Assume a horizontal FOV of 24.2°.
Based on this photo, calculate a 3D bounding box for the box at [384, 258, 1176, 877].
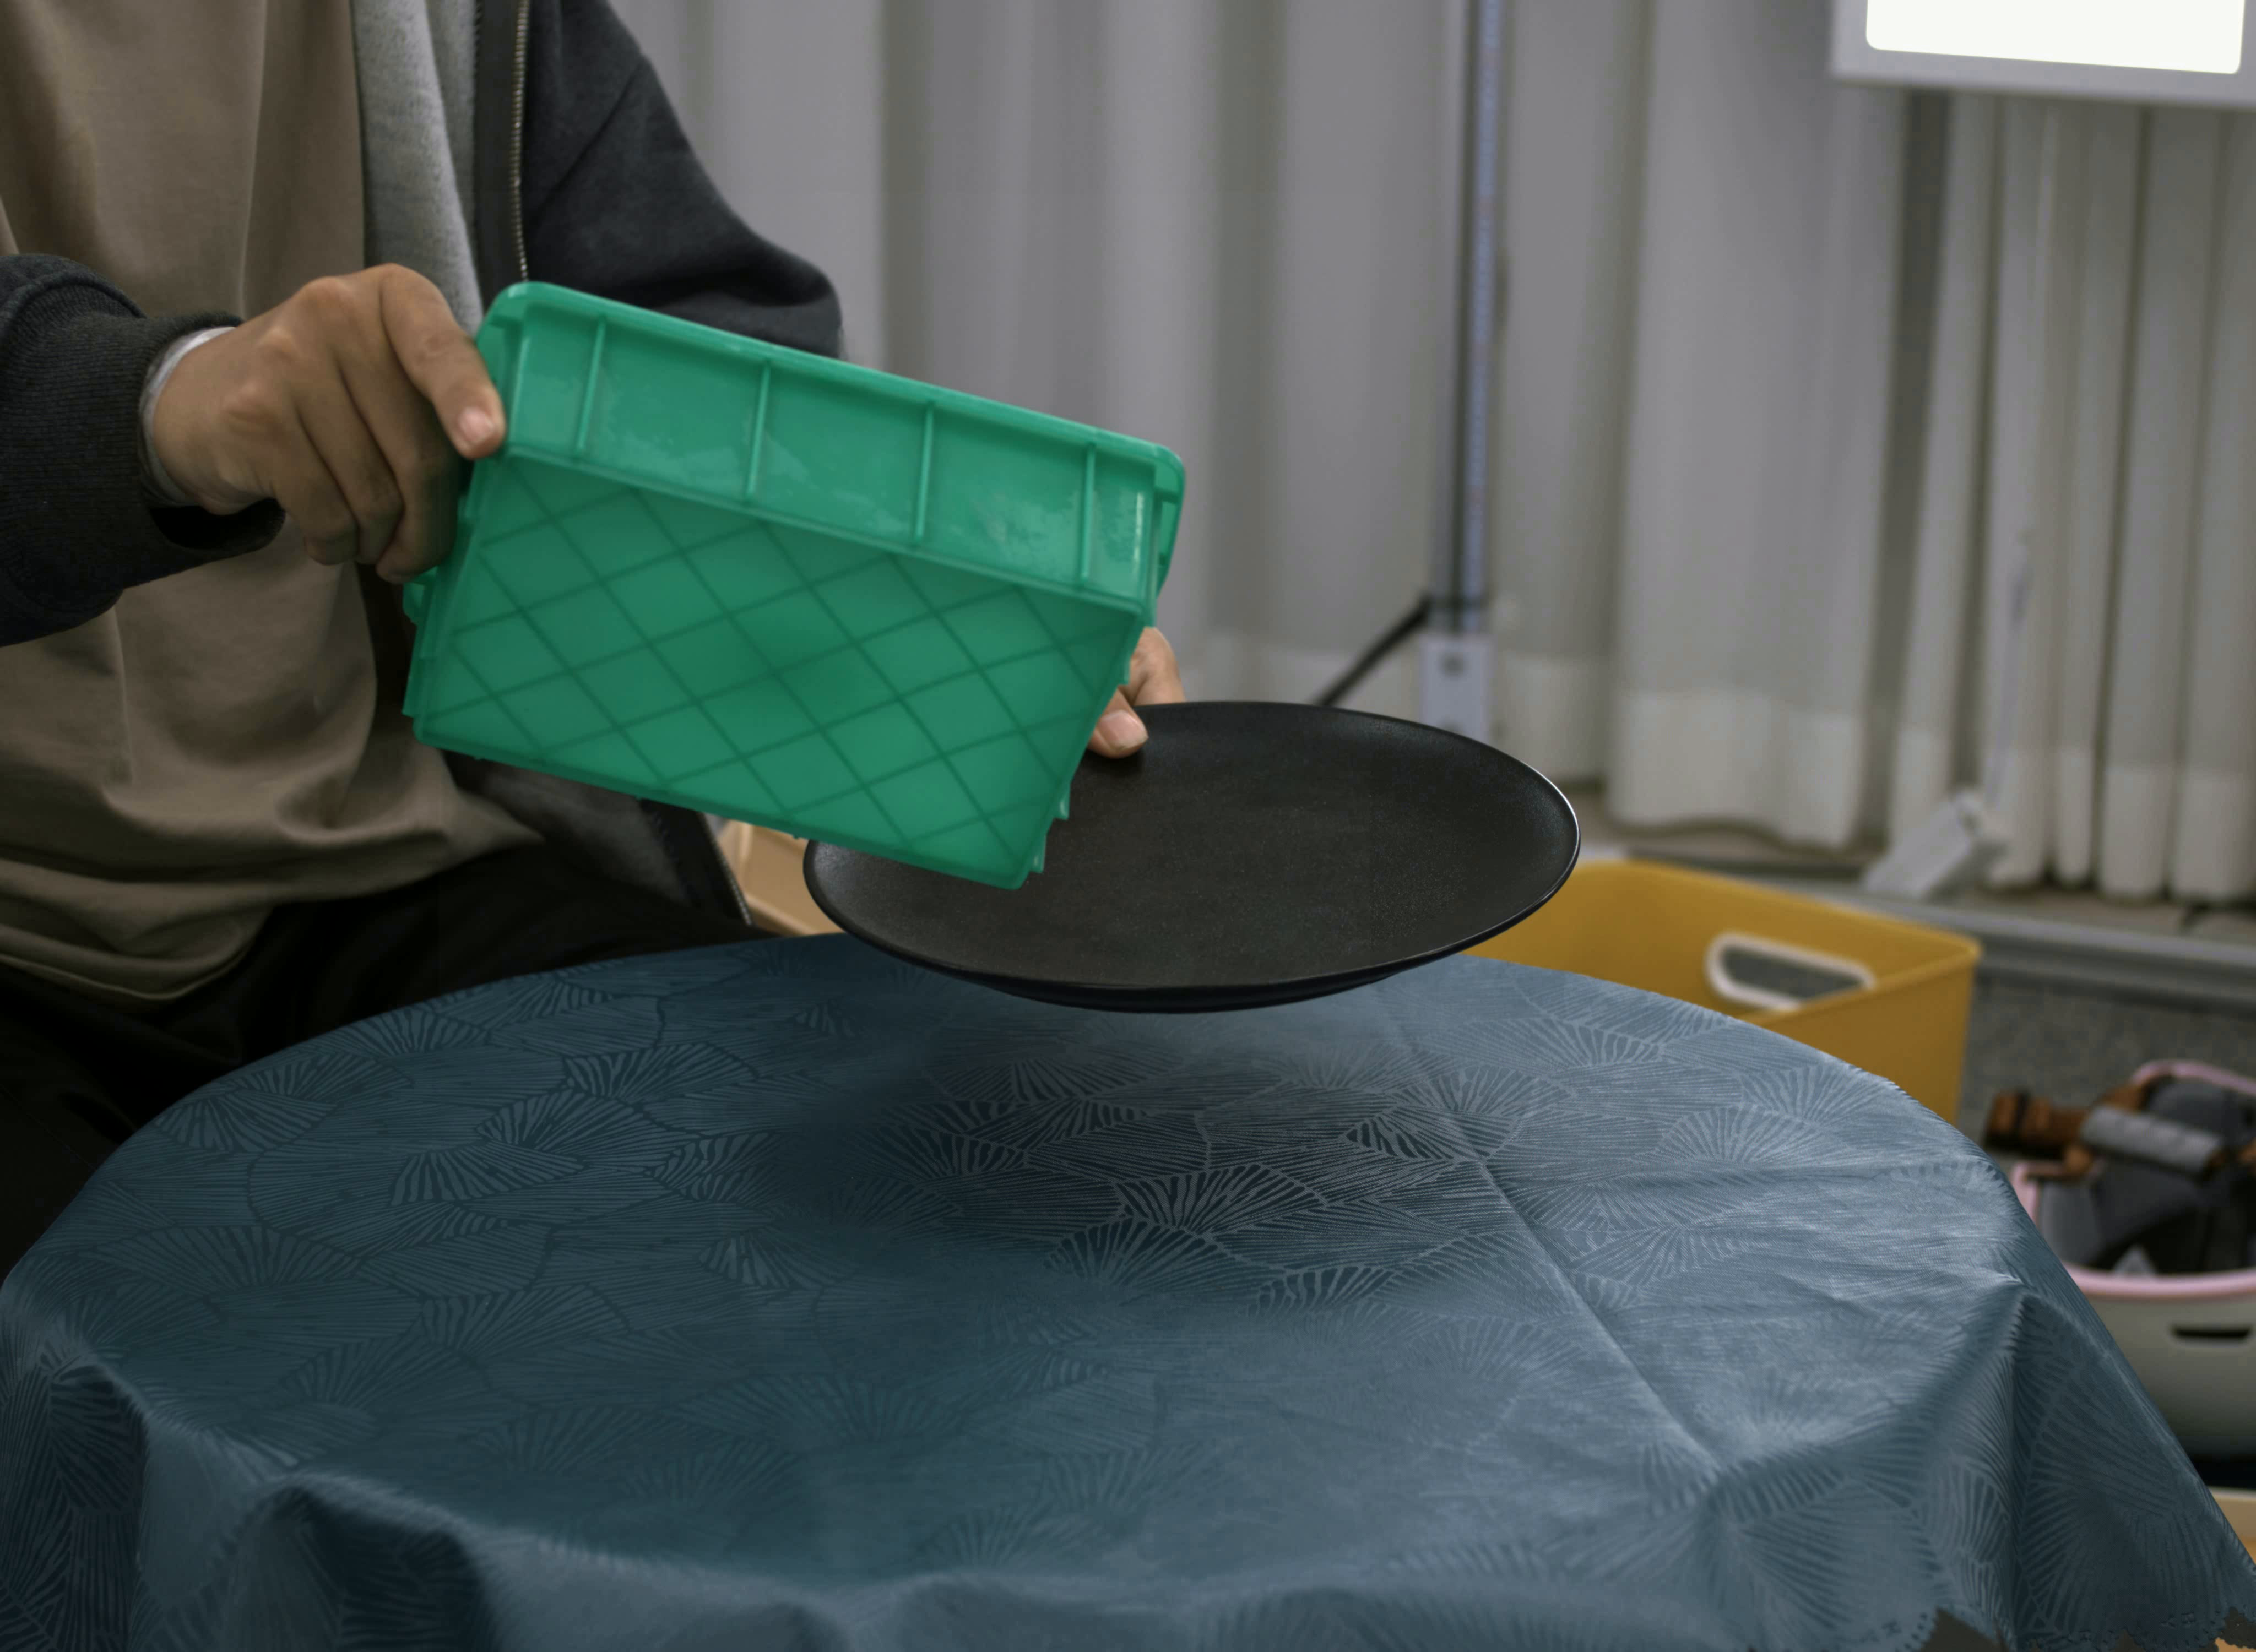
[{"bbox_3d":[-0.100,-0.065,1.462,0.211,0.139,0.065,14,43,-14],"label":"box"}]

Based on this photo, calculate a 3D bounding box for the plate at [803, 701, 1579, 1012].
[{"bbox_3d":[0.020,0.012,1.653,0.243,0.023,0.243,-2,22,1],"label":"plate"}]
